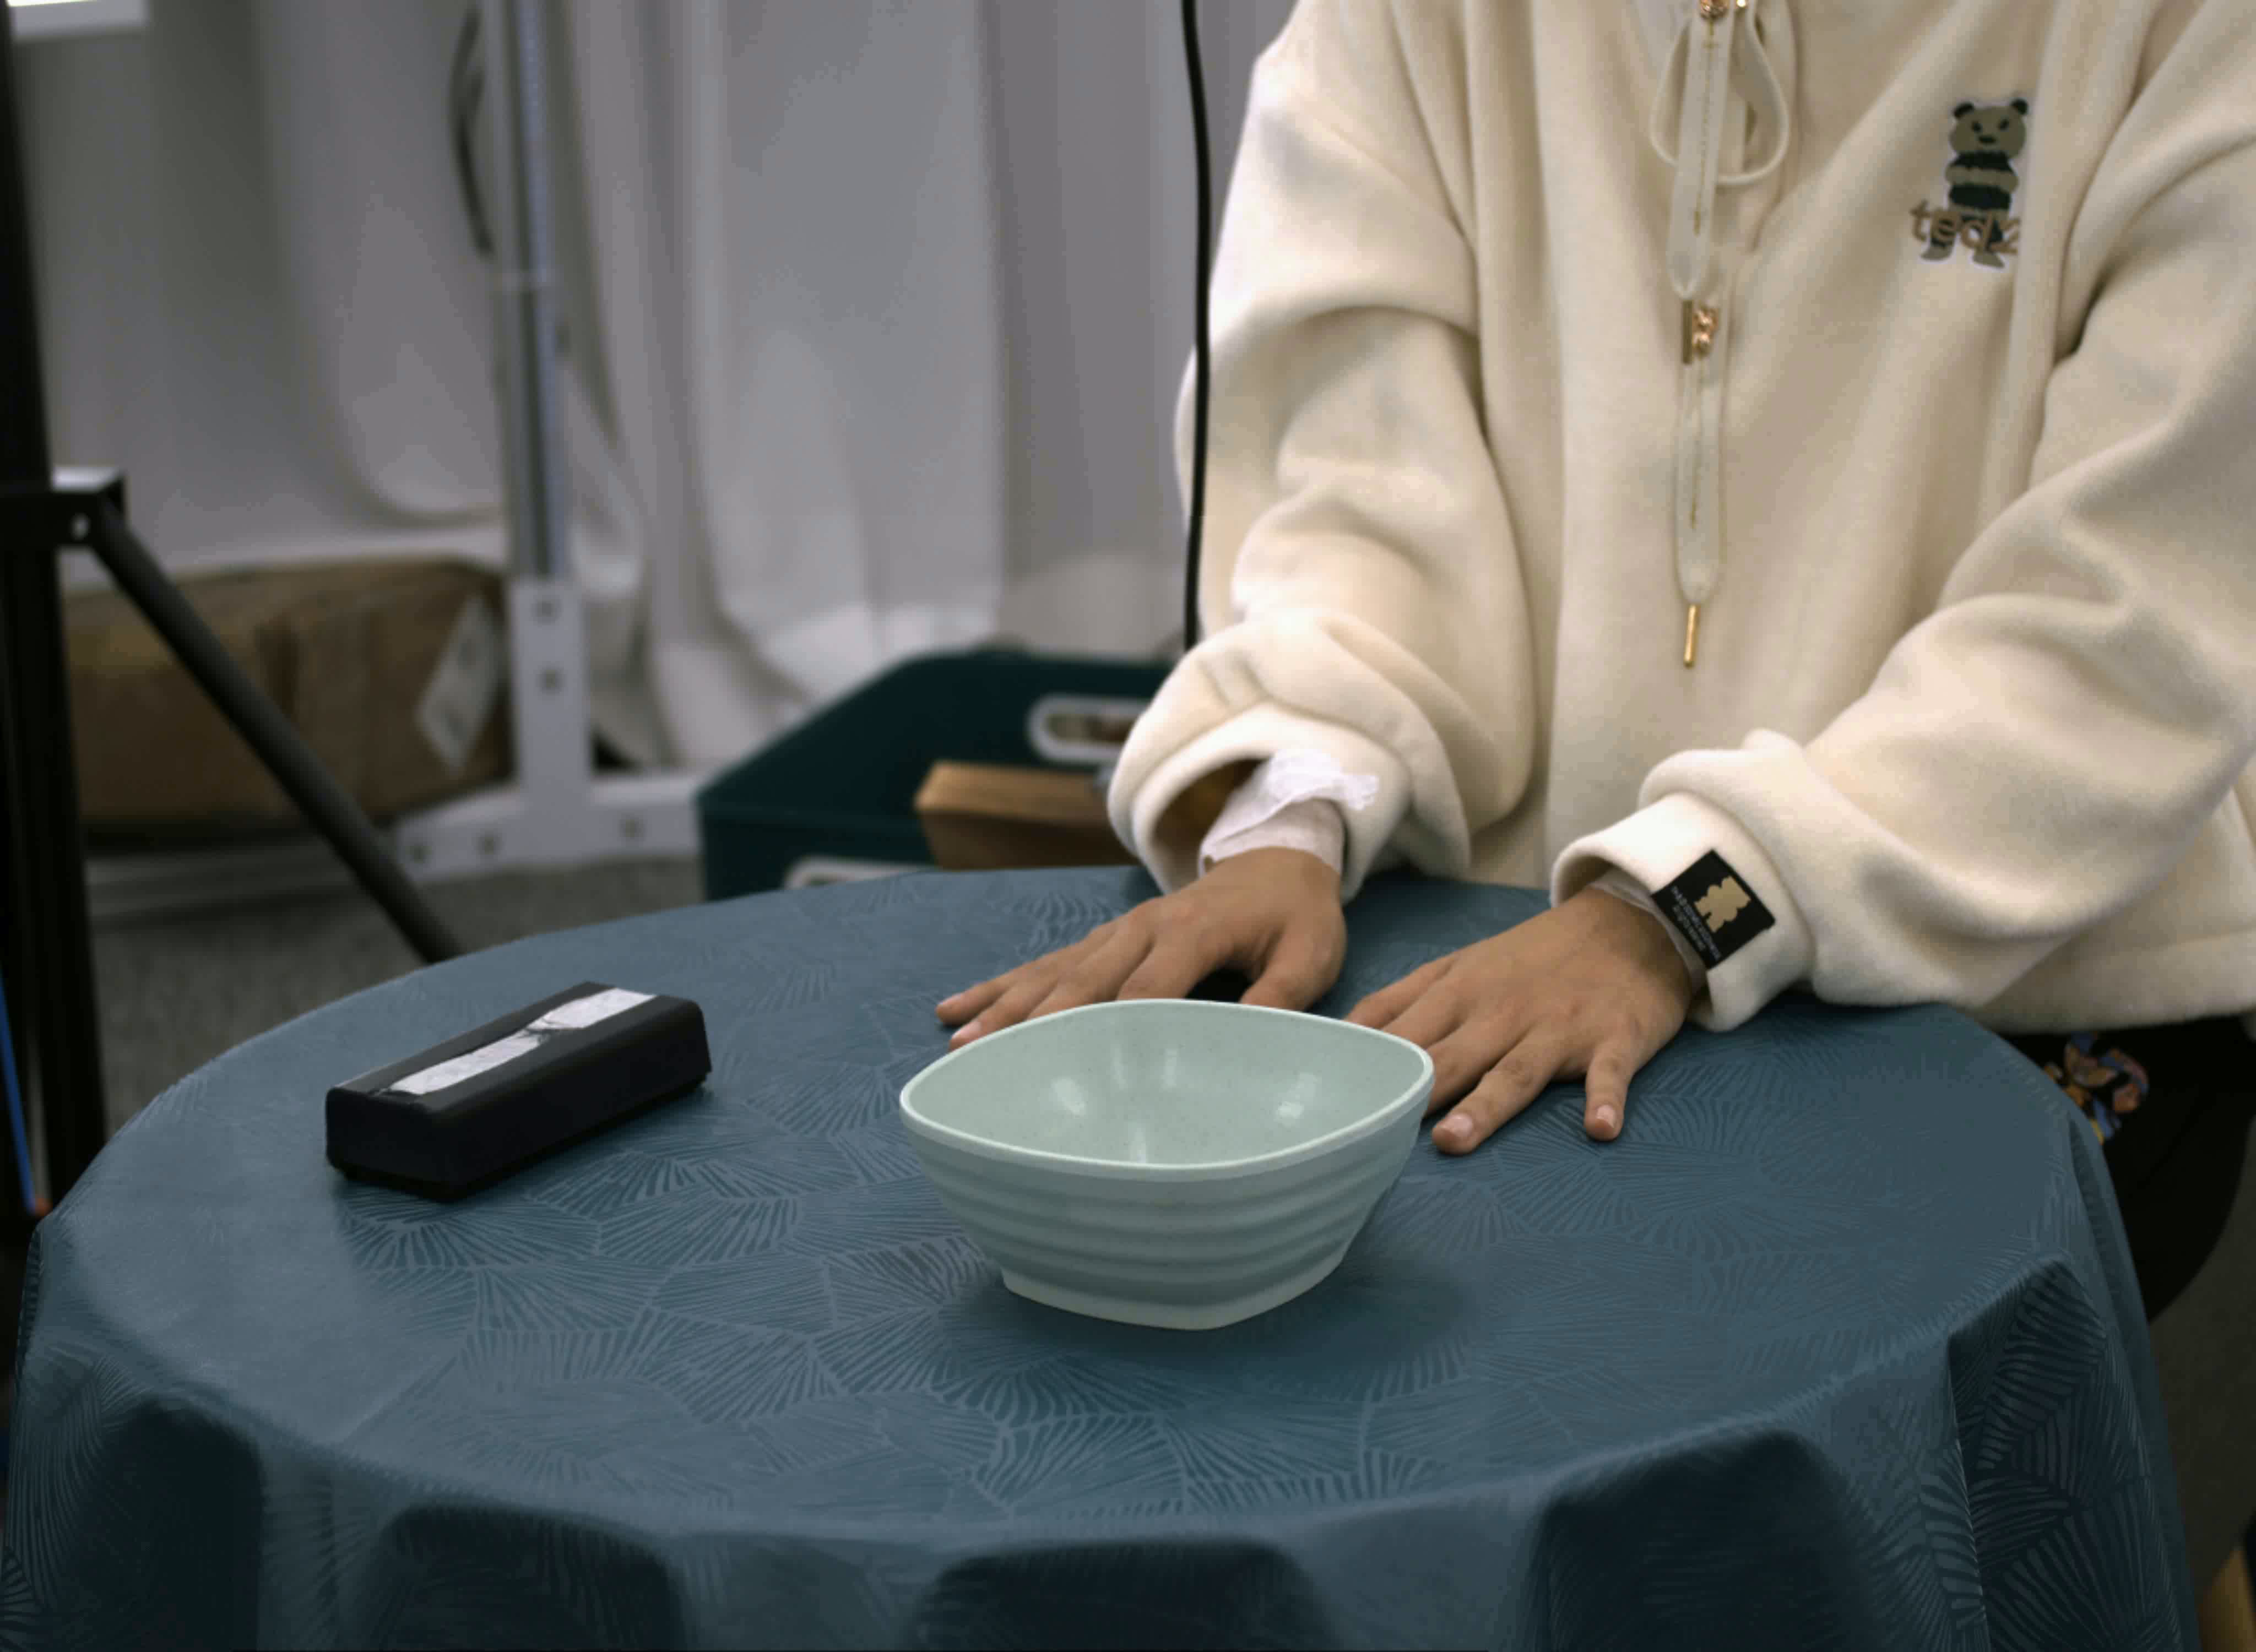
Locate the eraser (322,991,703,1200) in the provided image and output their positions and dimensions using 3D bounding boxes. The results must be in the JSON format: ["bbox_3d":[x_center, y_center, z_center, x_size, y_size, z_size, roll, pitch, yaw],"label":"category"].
[{"bbox_3d":[-0.187,0.082,1.633,0.054,0.030,0.123,9,17,32],"label":"eraser"}]

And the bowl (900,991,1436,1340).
[{"bbox_3d":[0.012,0.098,1.487,0.150,0.058,0.152,-1,18,-1],"label":"bowl"}]
